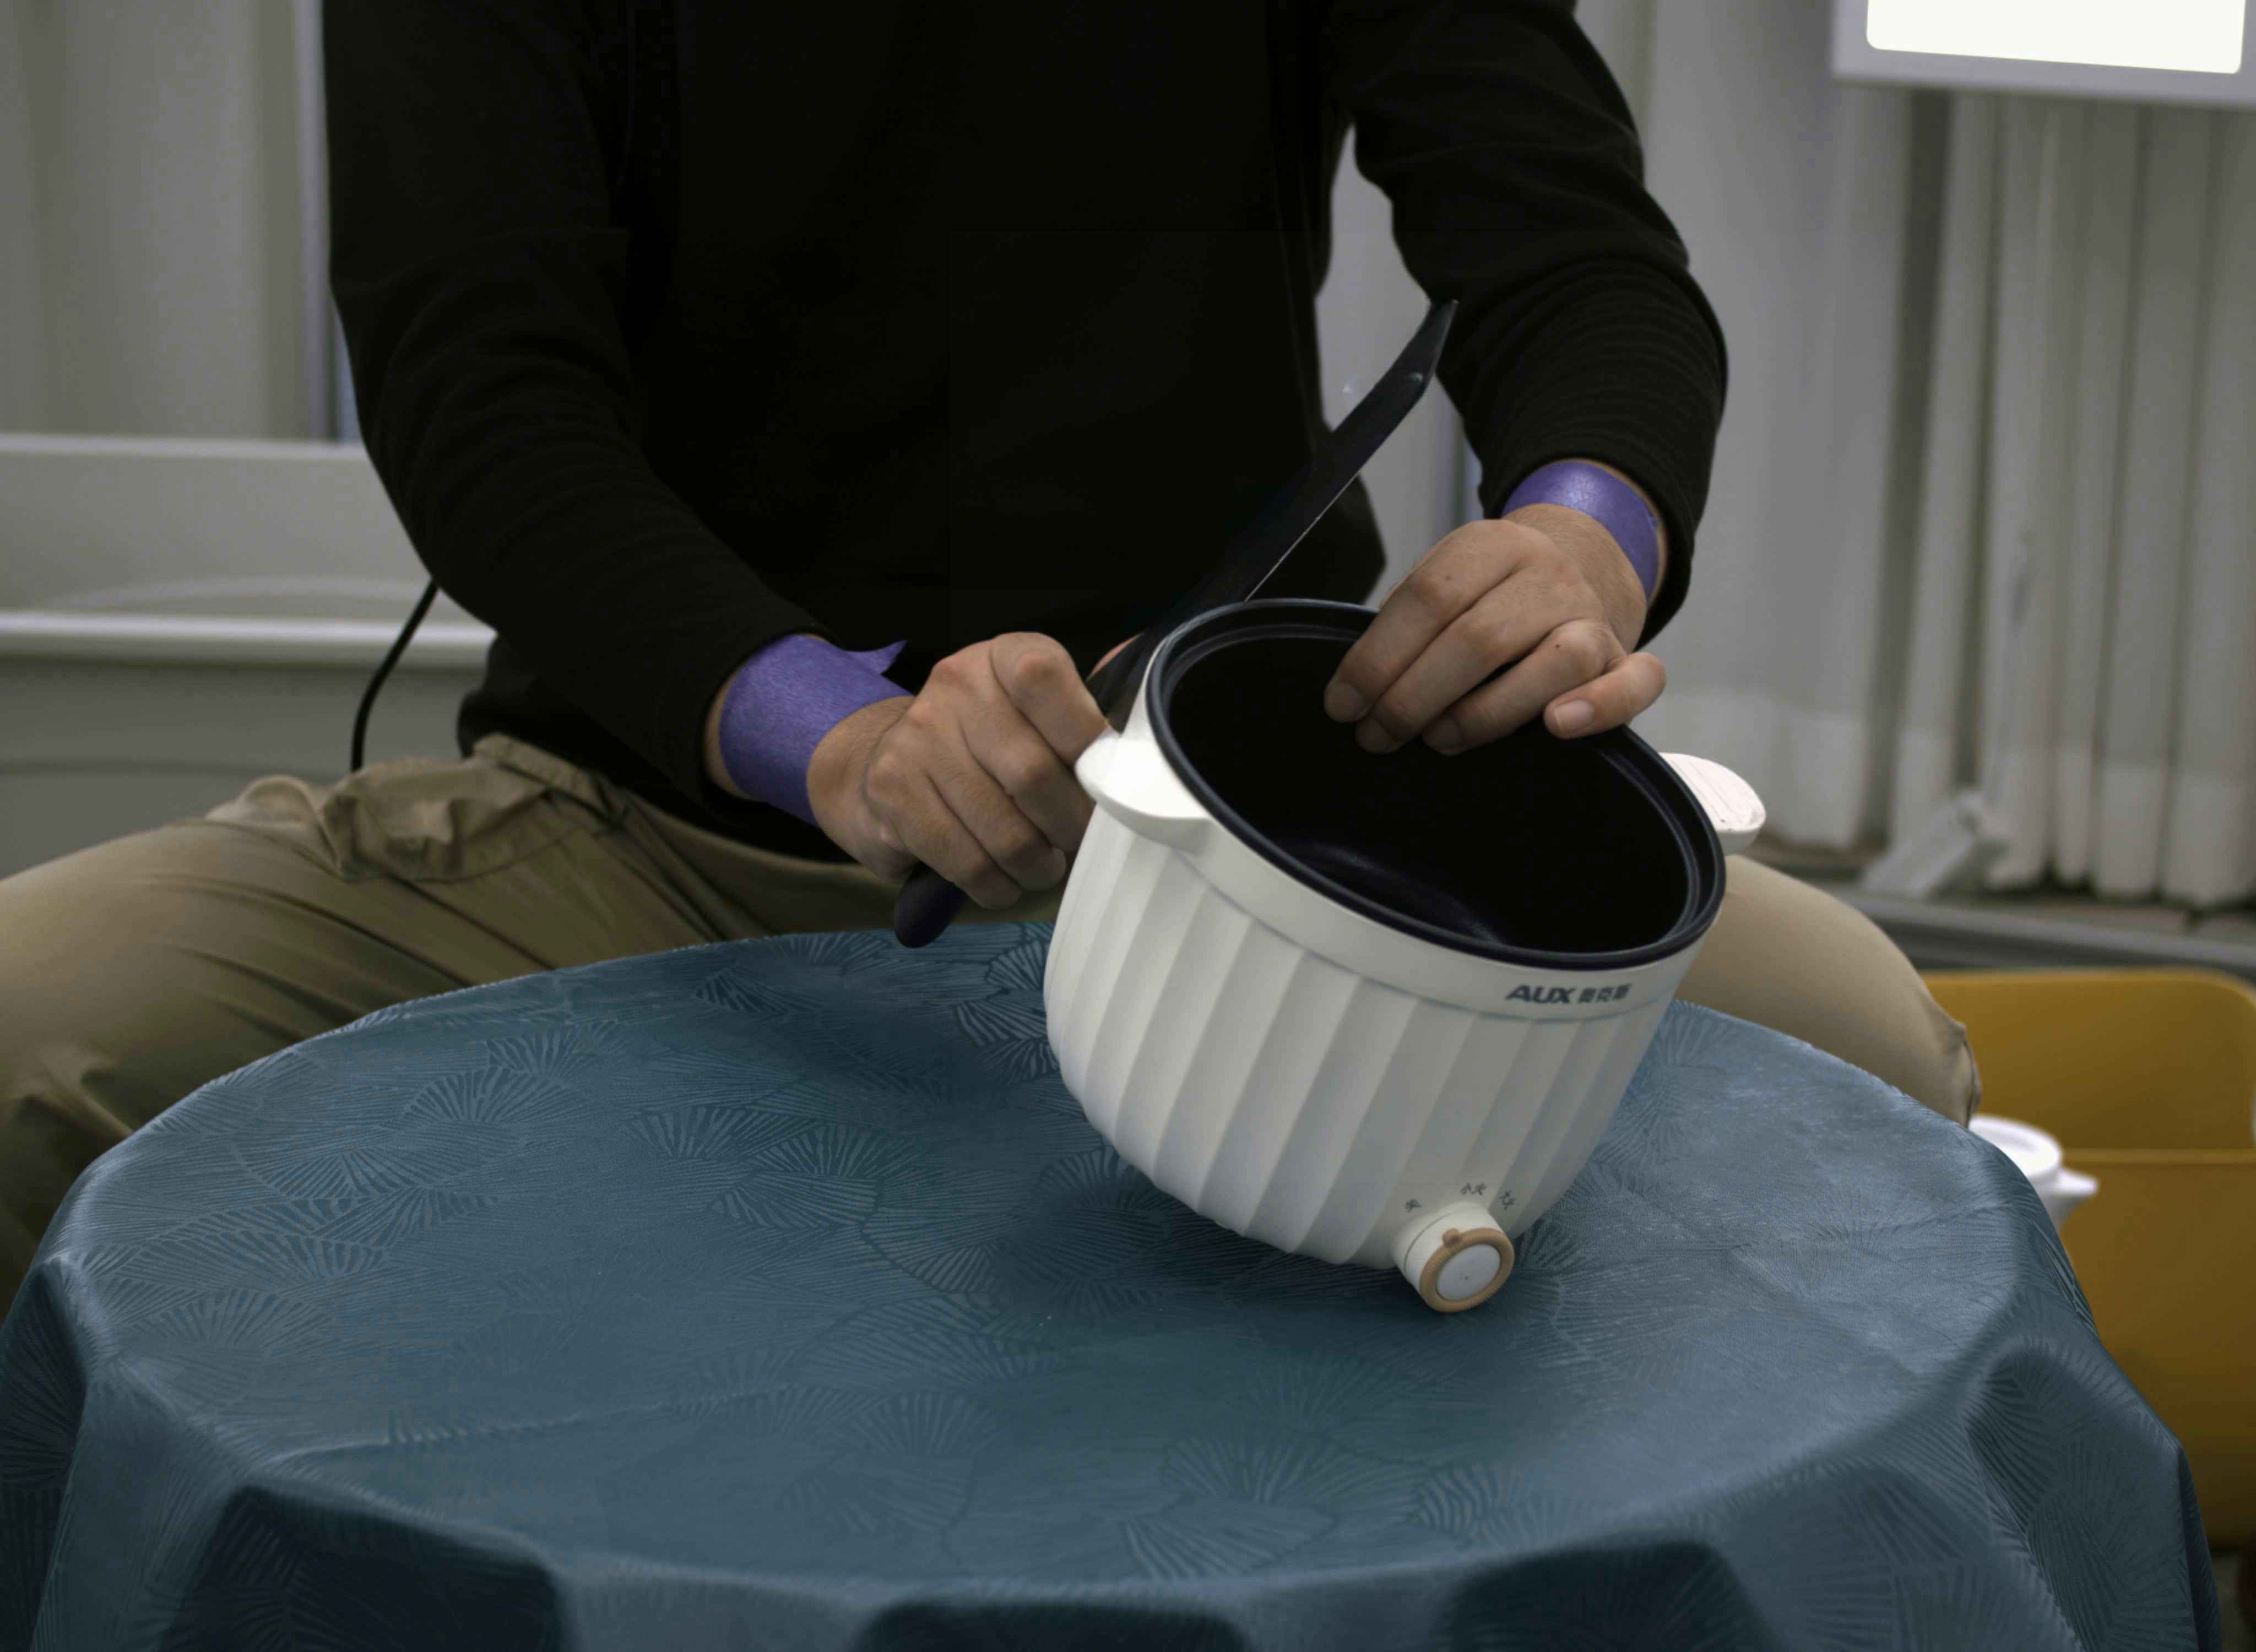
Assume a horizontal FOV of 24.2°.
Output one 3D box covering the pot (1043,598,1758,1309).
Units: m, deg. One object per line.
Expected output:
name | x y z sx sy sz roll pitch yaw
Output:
pot | 0.072 0.041 1.562 0.242 0.143 0.188 0 33 -33

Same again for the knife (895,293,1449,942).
knife | 0.010 -0.055 1.644 0.021 0.302 0.080 34 41 -11
